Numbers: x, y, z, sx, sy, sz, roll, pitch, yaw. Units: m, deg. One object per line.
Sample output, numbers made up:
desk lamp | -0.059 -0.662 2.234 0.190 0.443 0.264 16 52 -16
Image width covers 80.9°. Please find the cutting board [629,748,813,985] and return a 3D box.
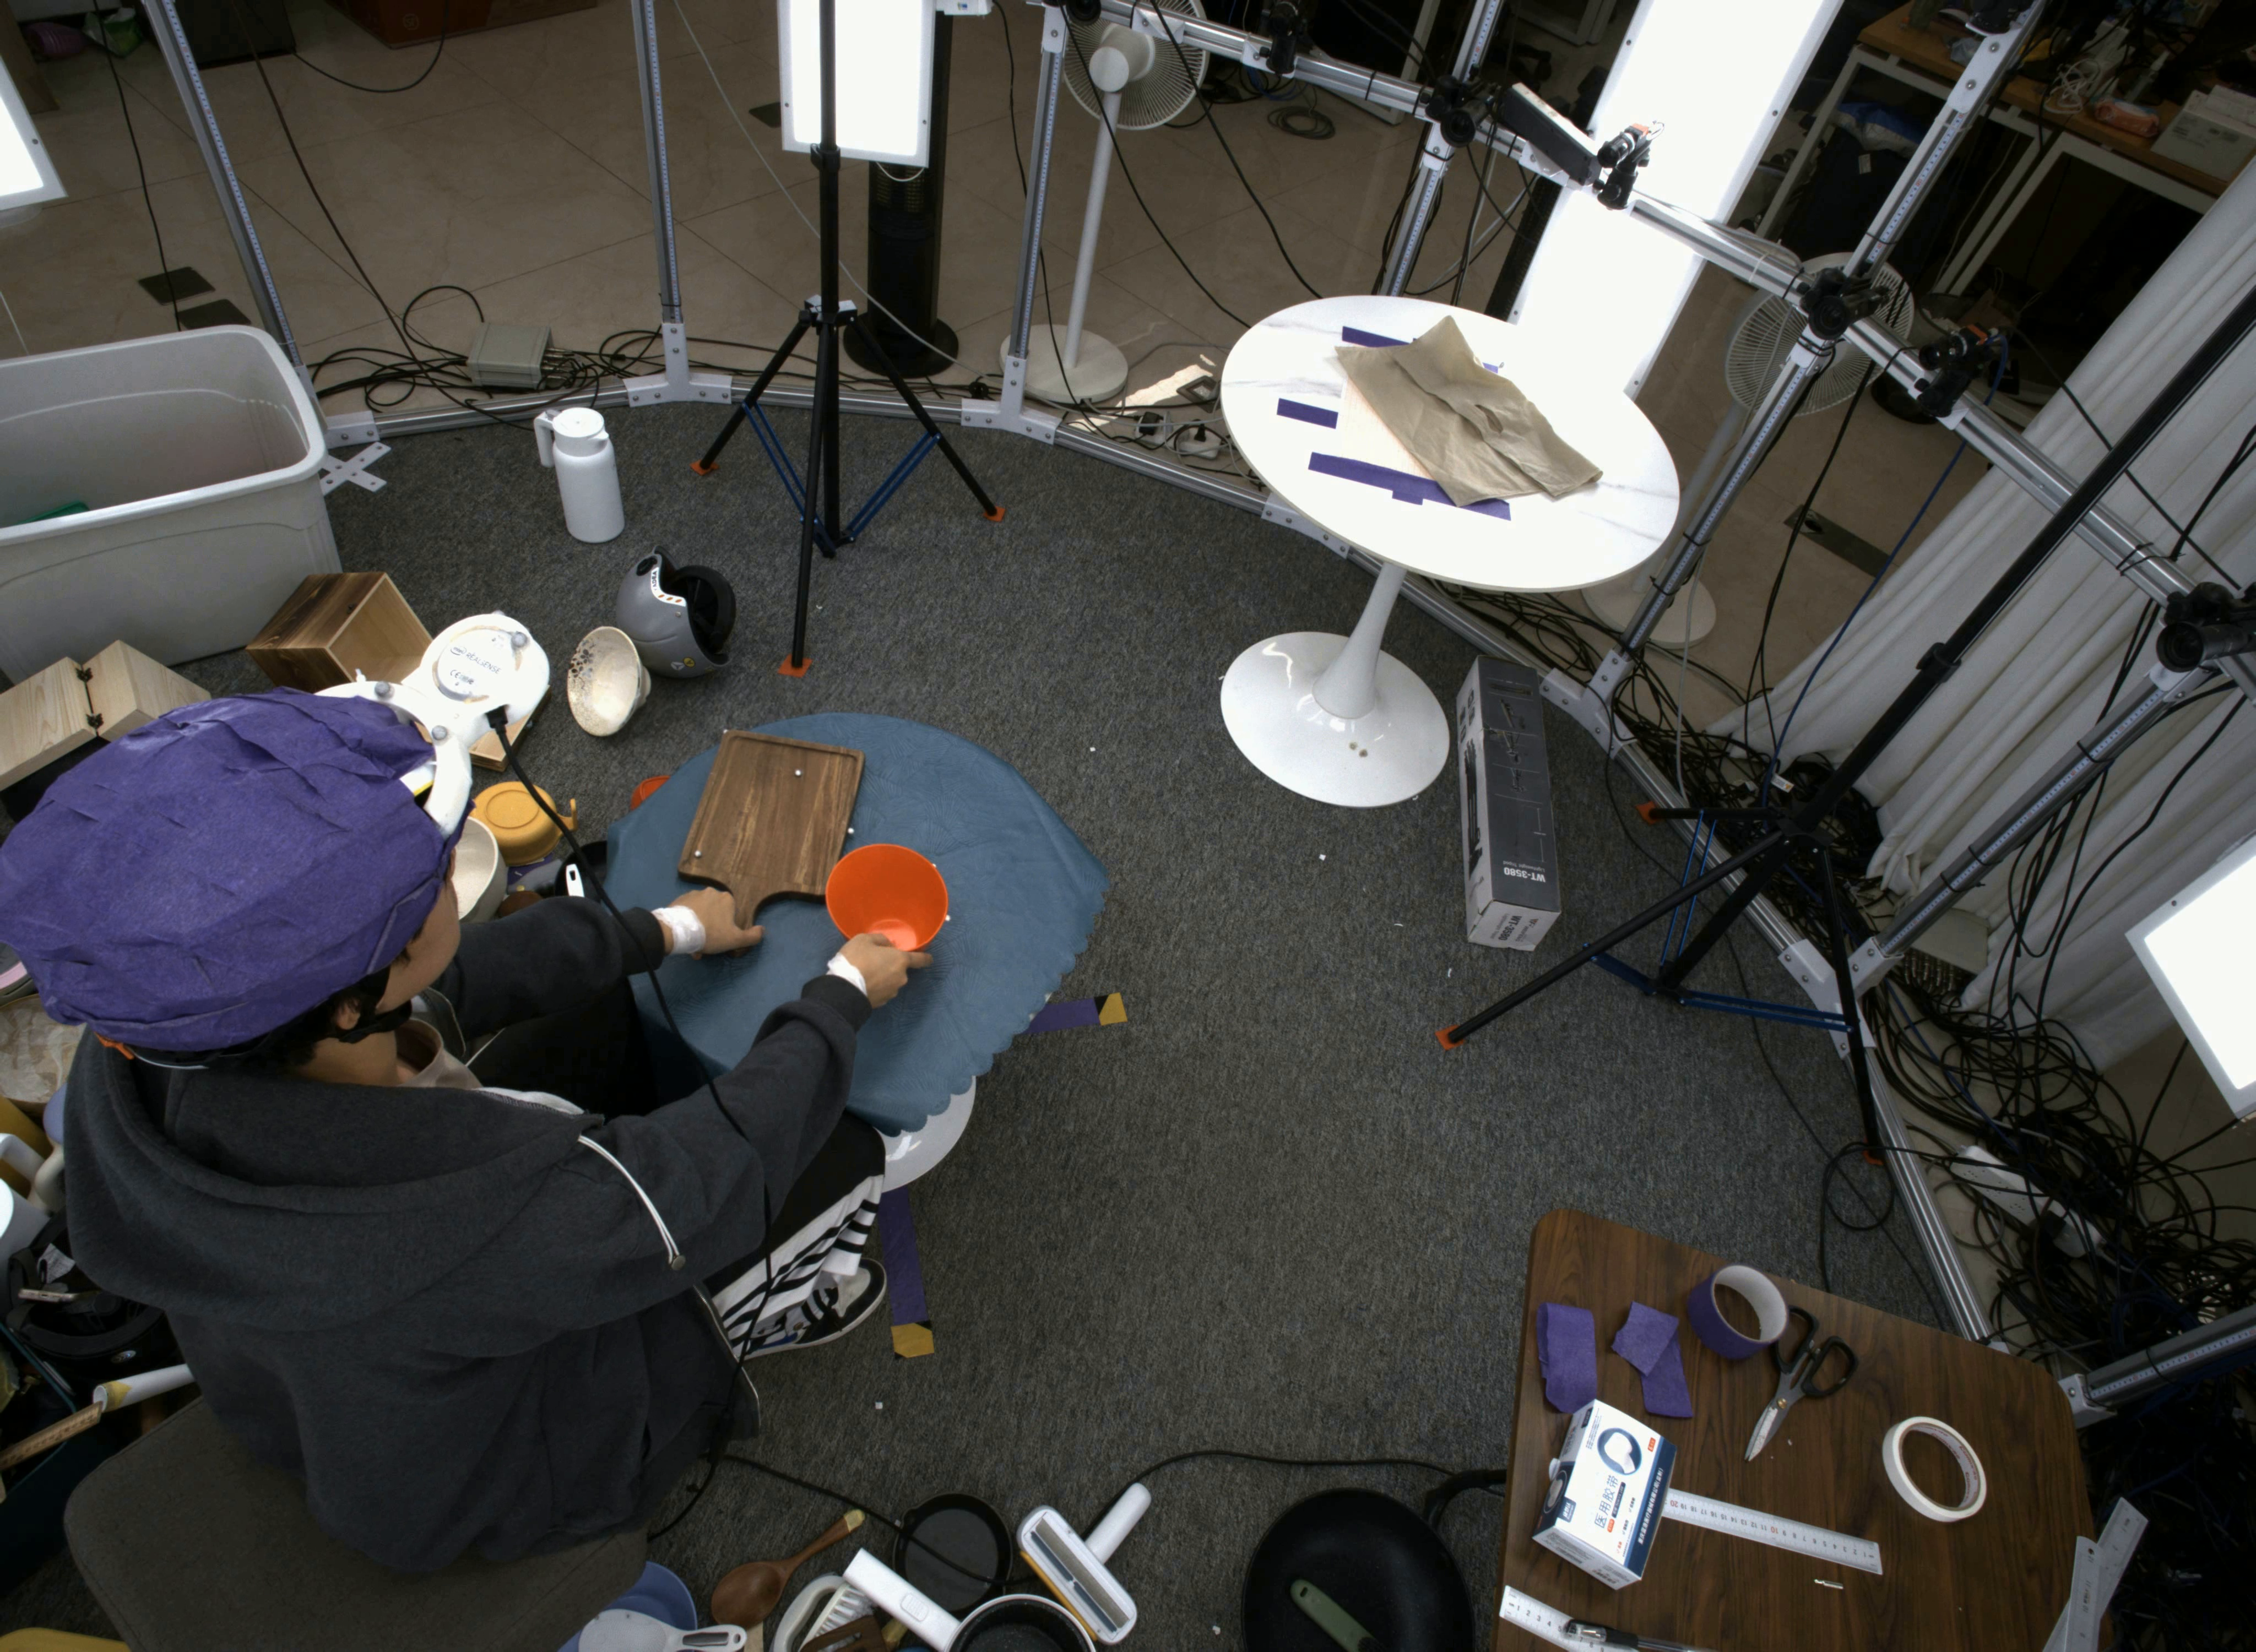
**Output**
cutting board | -0.528 0.044 1.656 0.201 0.023 0.346 7 53 -9

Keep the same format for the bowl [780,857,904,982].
bowl | -0.348 0.125 1.590 0.147 0.107 0.145 7 51 -8
